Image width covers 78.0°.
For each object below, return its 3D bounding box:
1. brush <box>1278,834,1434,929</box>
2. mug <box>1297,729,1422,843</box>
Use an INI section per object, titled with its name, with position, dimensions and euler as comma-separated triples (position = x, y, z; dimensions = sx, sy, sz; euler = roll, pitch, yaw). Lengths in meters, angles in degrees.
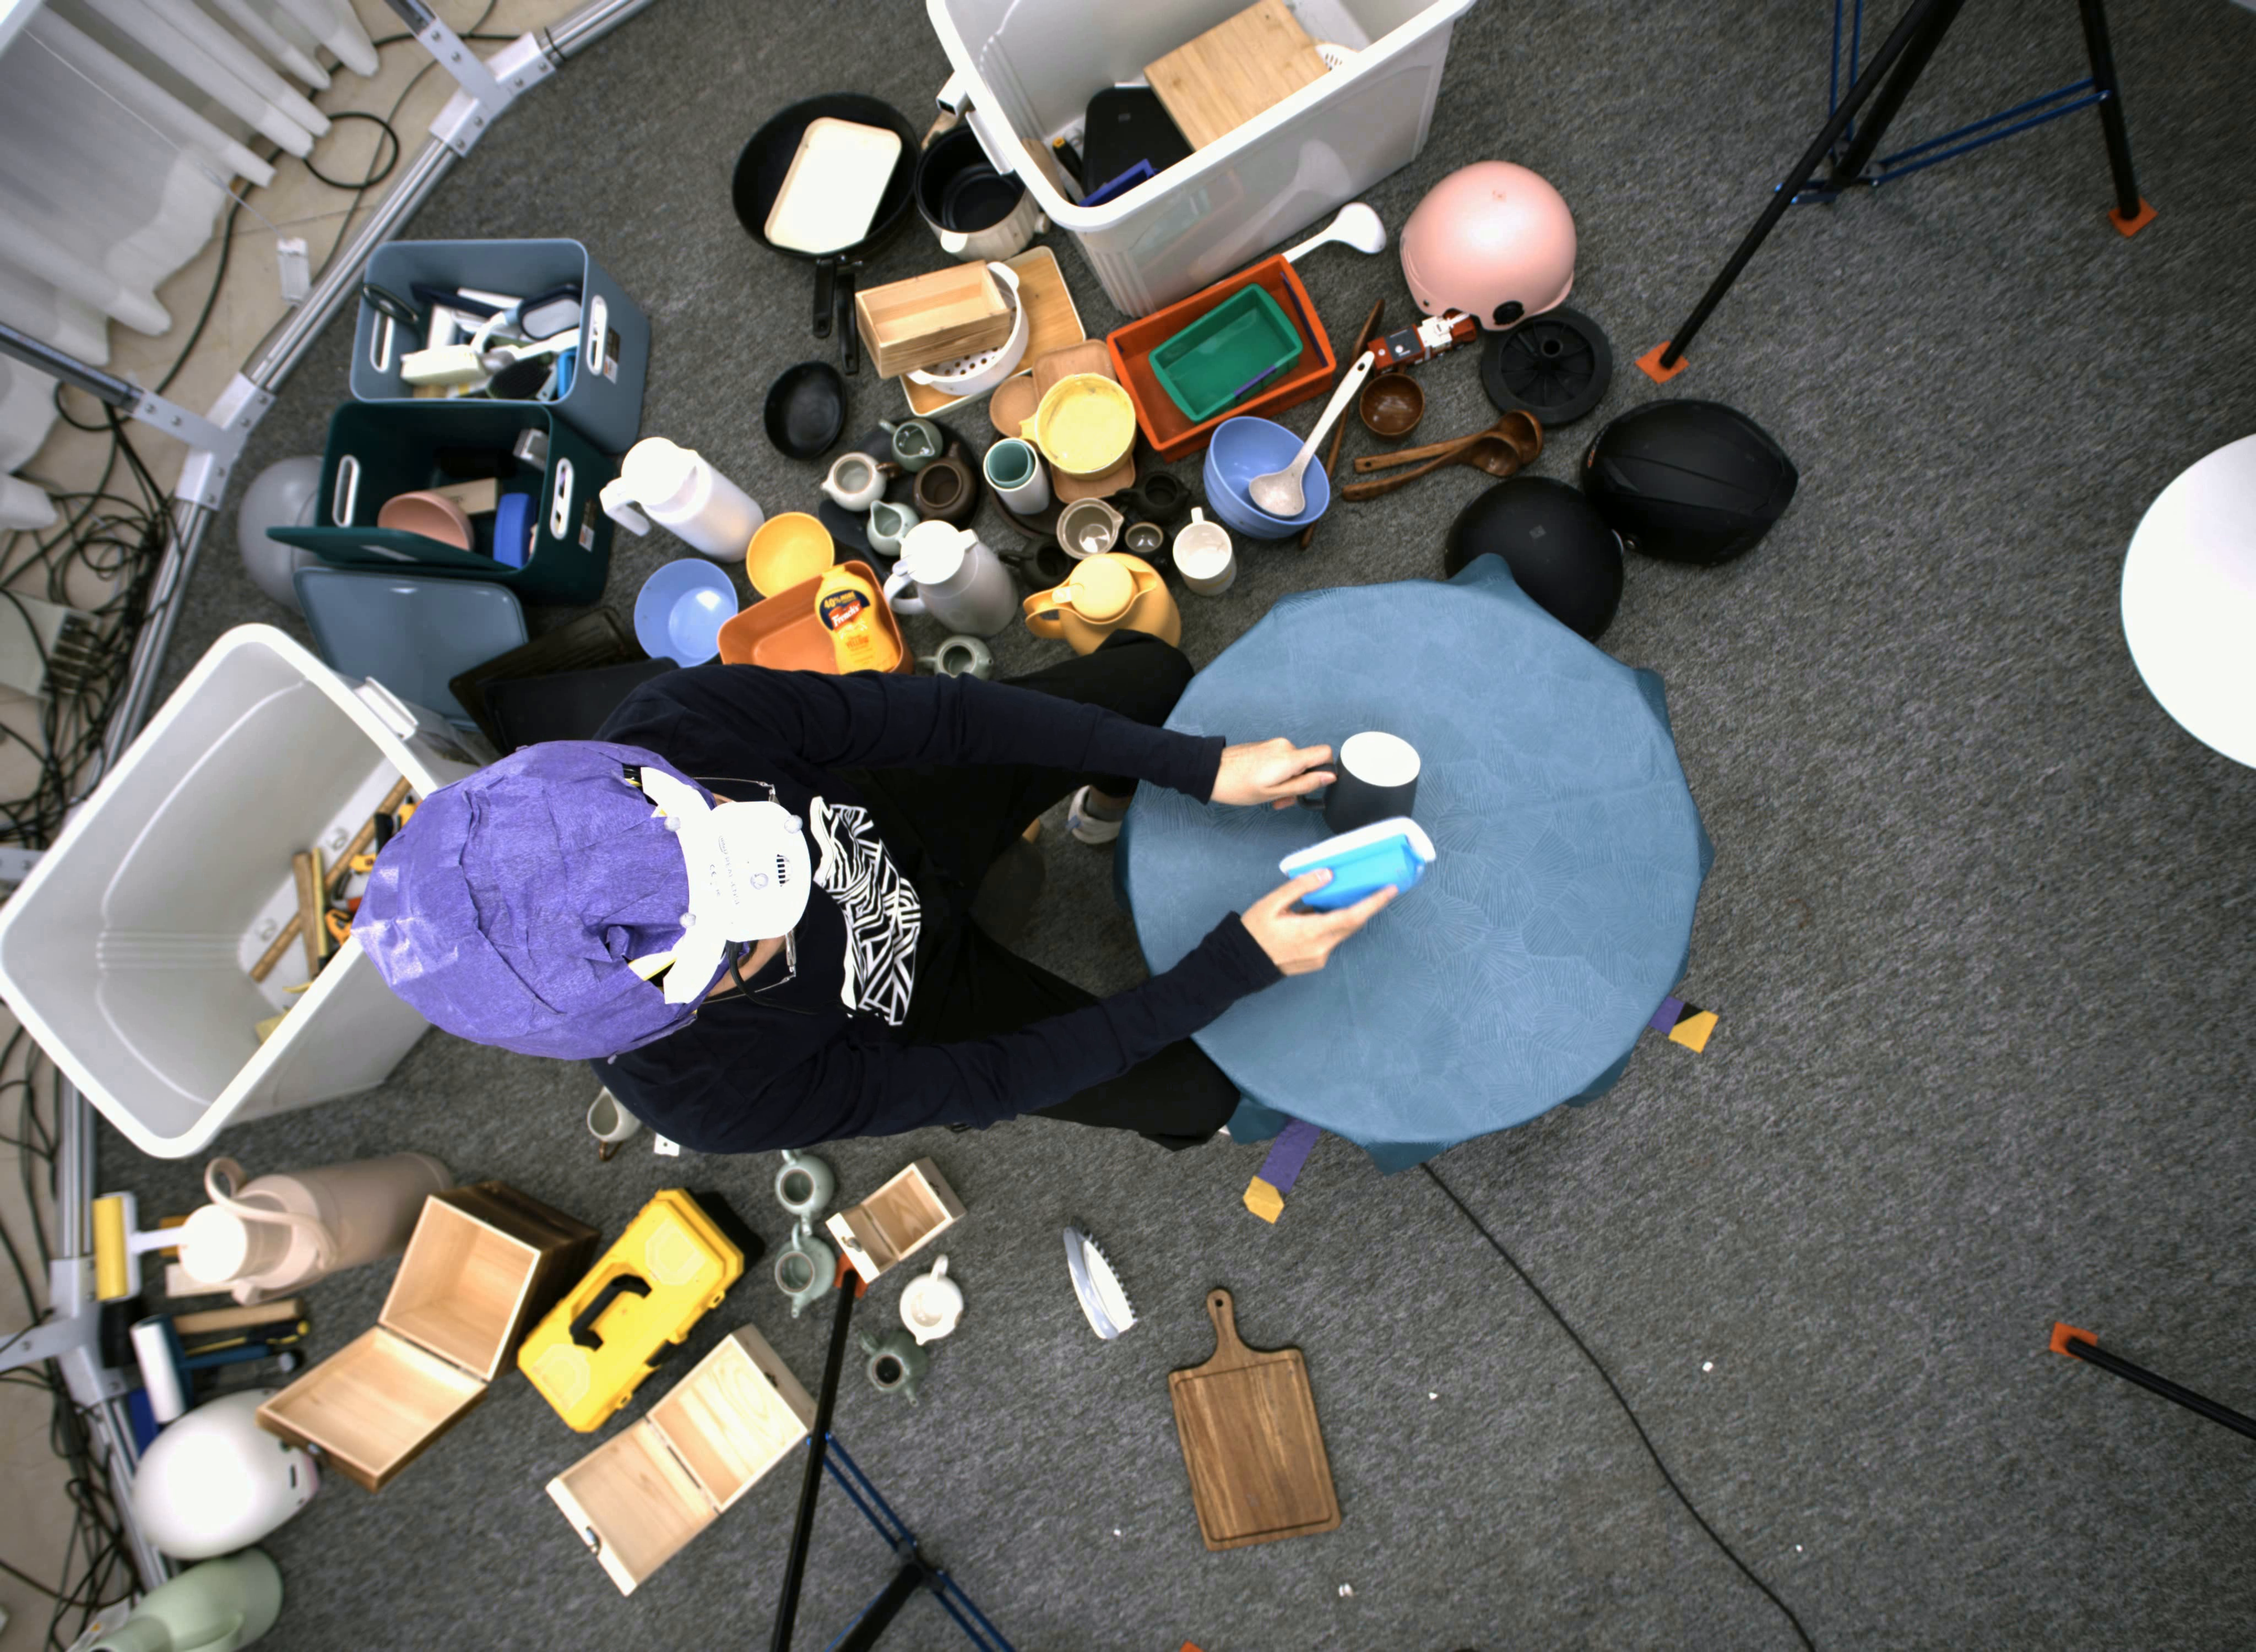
[brush]
position = 0.220, 0.058, 1.329
dimensions = 0.145, 0.085, 0.054
euler = -20, 50, 22
[mug]
position = 0.233, -0.042, 1.404
dimensions = 0.123, 0.092, 0.091
euler = 3, 48, -5
